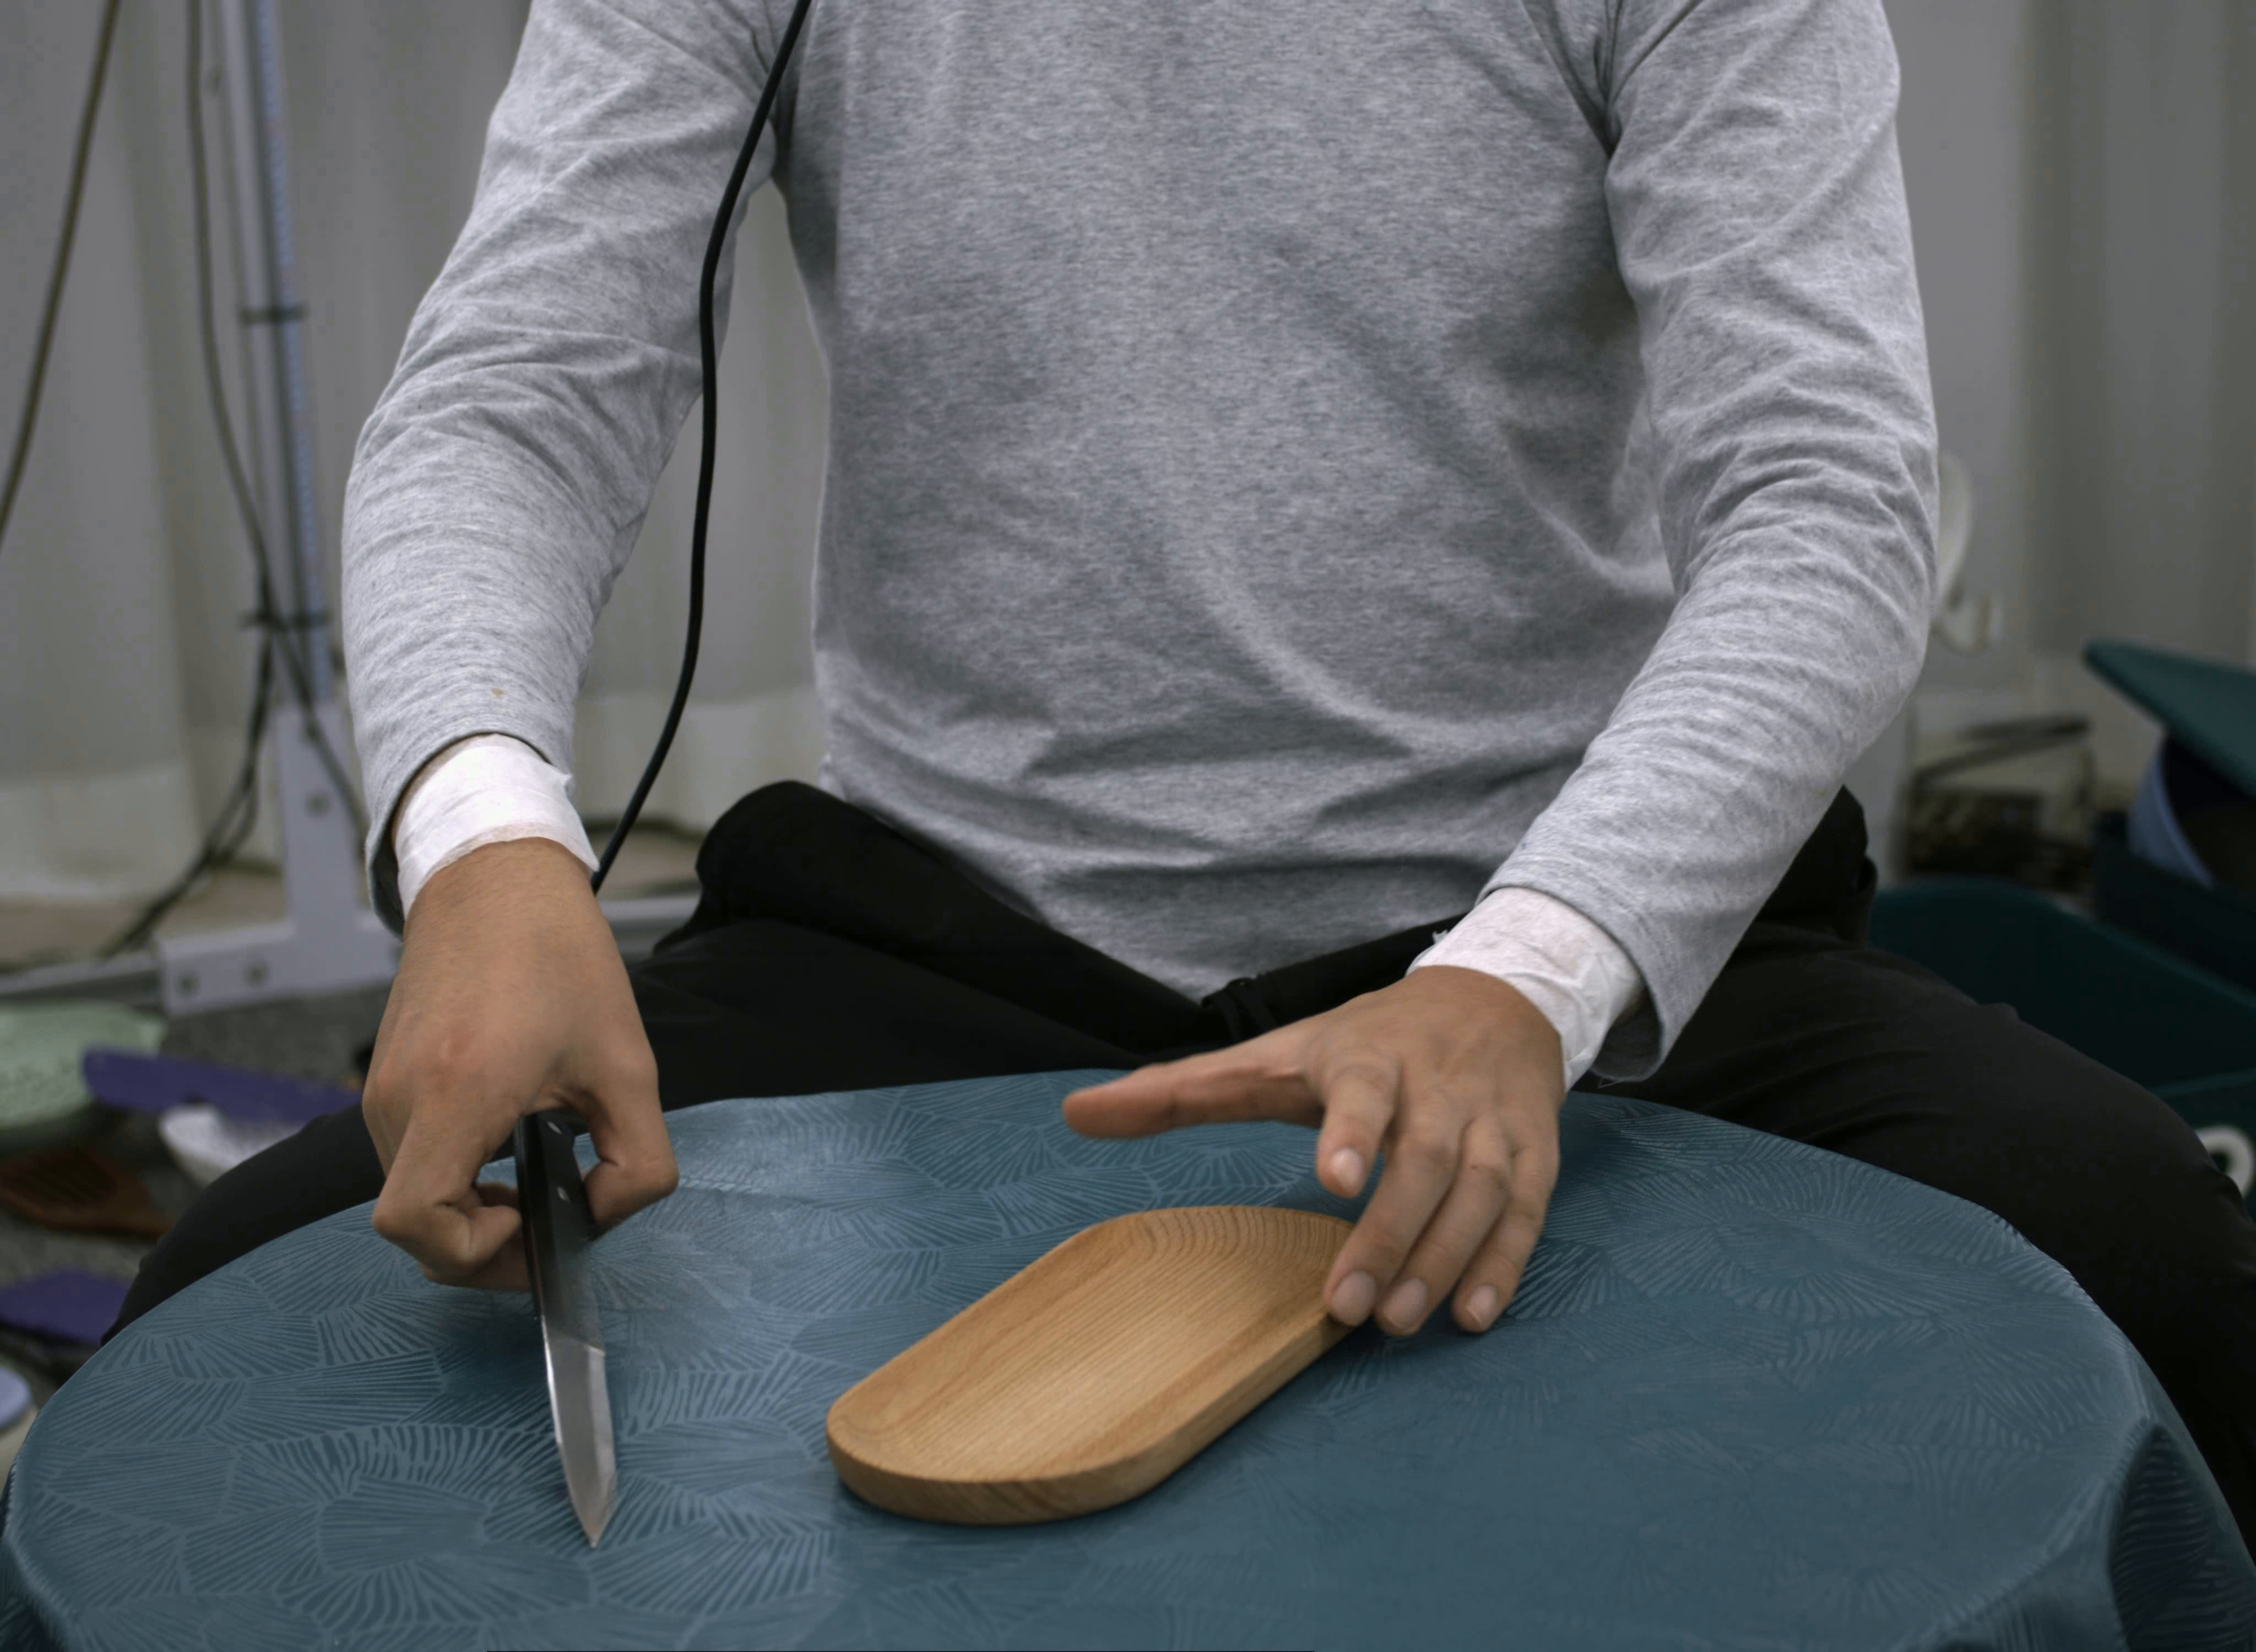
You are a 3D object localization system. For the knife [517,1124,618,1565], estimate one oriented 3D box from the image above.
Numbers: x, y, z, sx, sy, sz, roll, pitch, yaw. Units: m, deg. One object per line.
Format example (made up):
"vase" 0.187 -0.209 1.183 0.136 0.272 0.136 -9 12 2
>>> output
"knife" -0.160 0.144 1.557 0.024 0.016 0.241 35 15 -22

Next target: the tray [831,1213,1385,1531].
"tray" -0.002 0.152 1.547 0.102 0.020 0.232 3 17 25
